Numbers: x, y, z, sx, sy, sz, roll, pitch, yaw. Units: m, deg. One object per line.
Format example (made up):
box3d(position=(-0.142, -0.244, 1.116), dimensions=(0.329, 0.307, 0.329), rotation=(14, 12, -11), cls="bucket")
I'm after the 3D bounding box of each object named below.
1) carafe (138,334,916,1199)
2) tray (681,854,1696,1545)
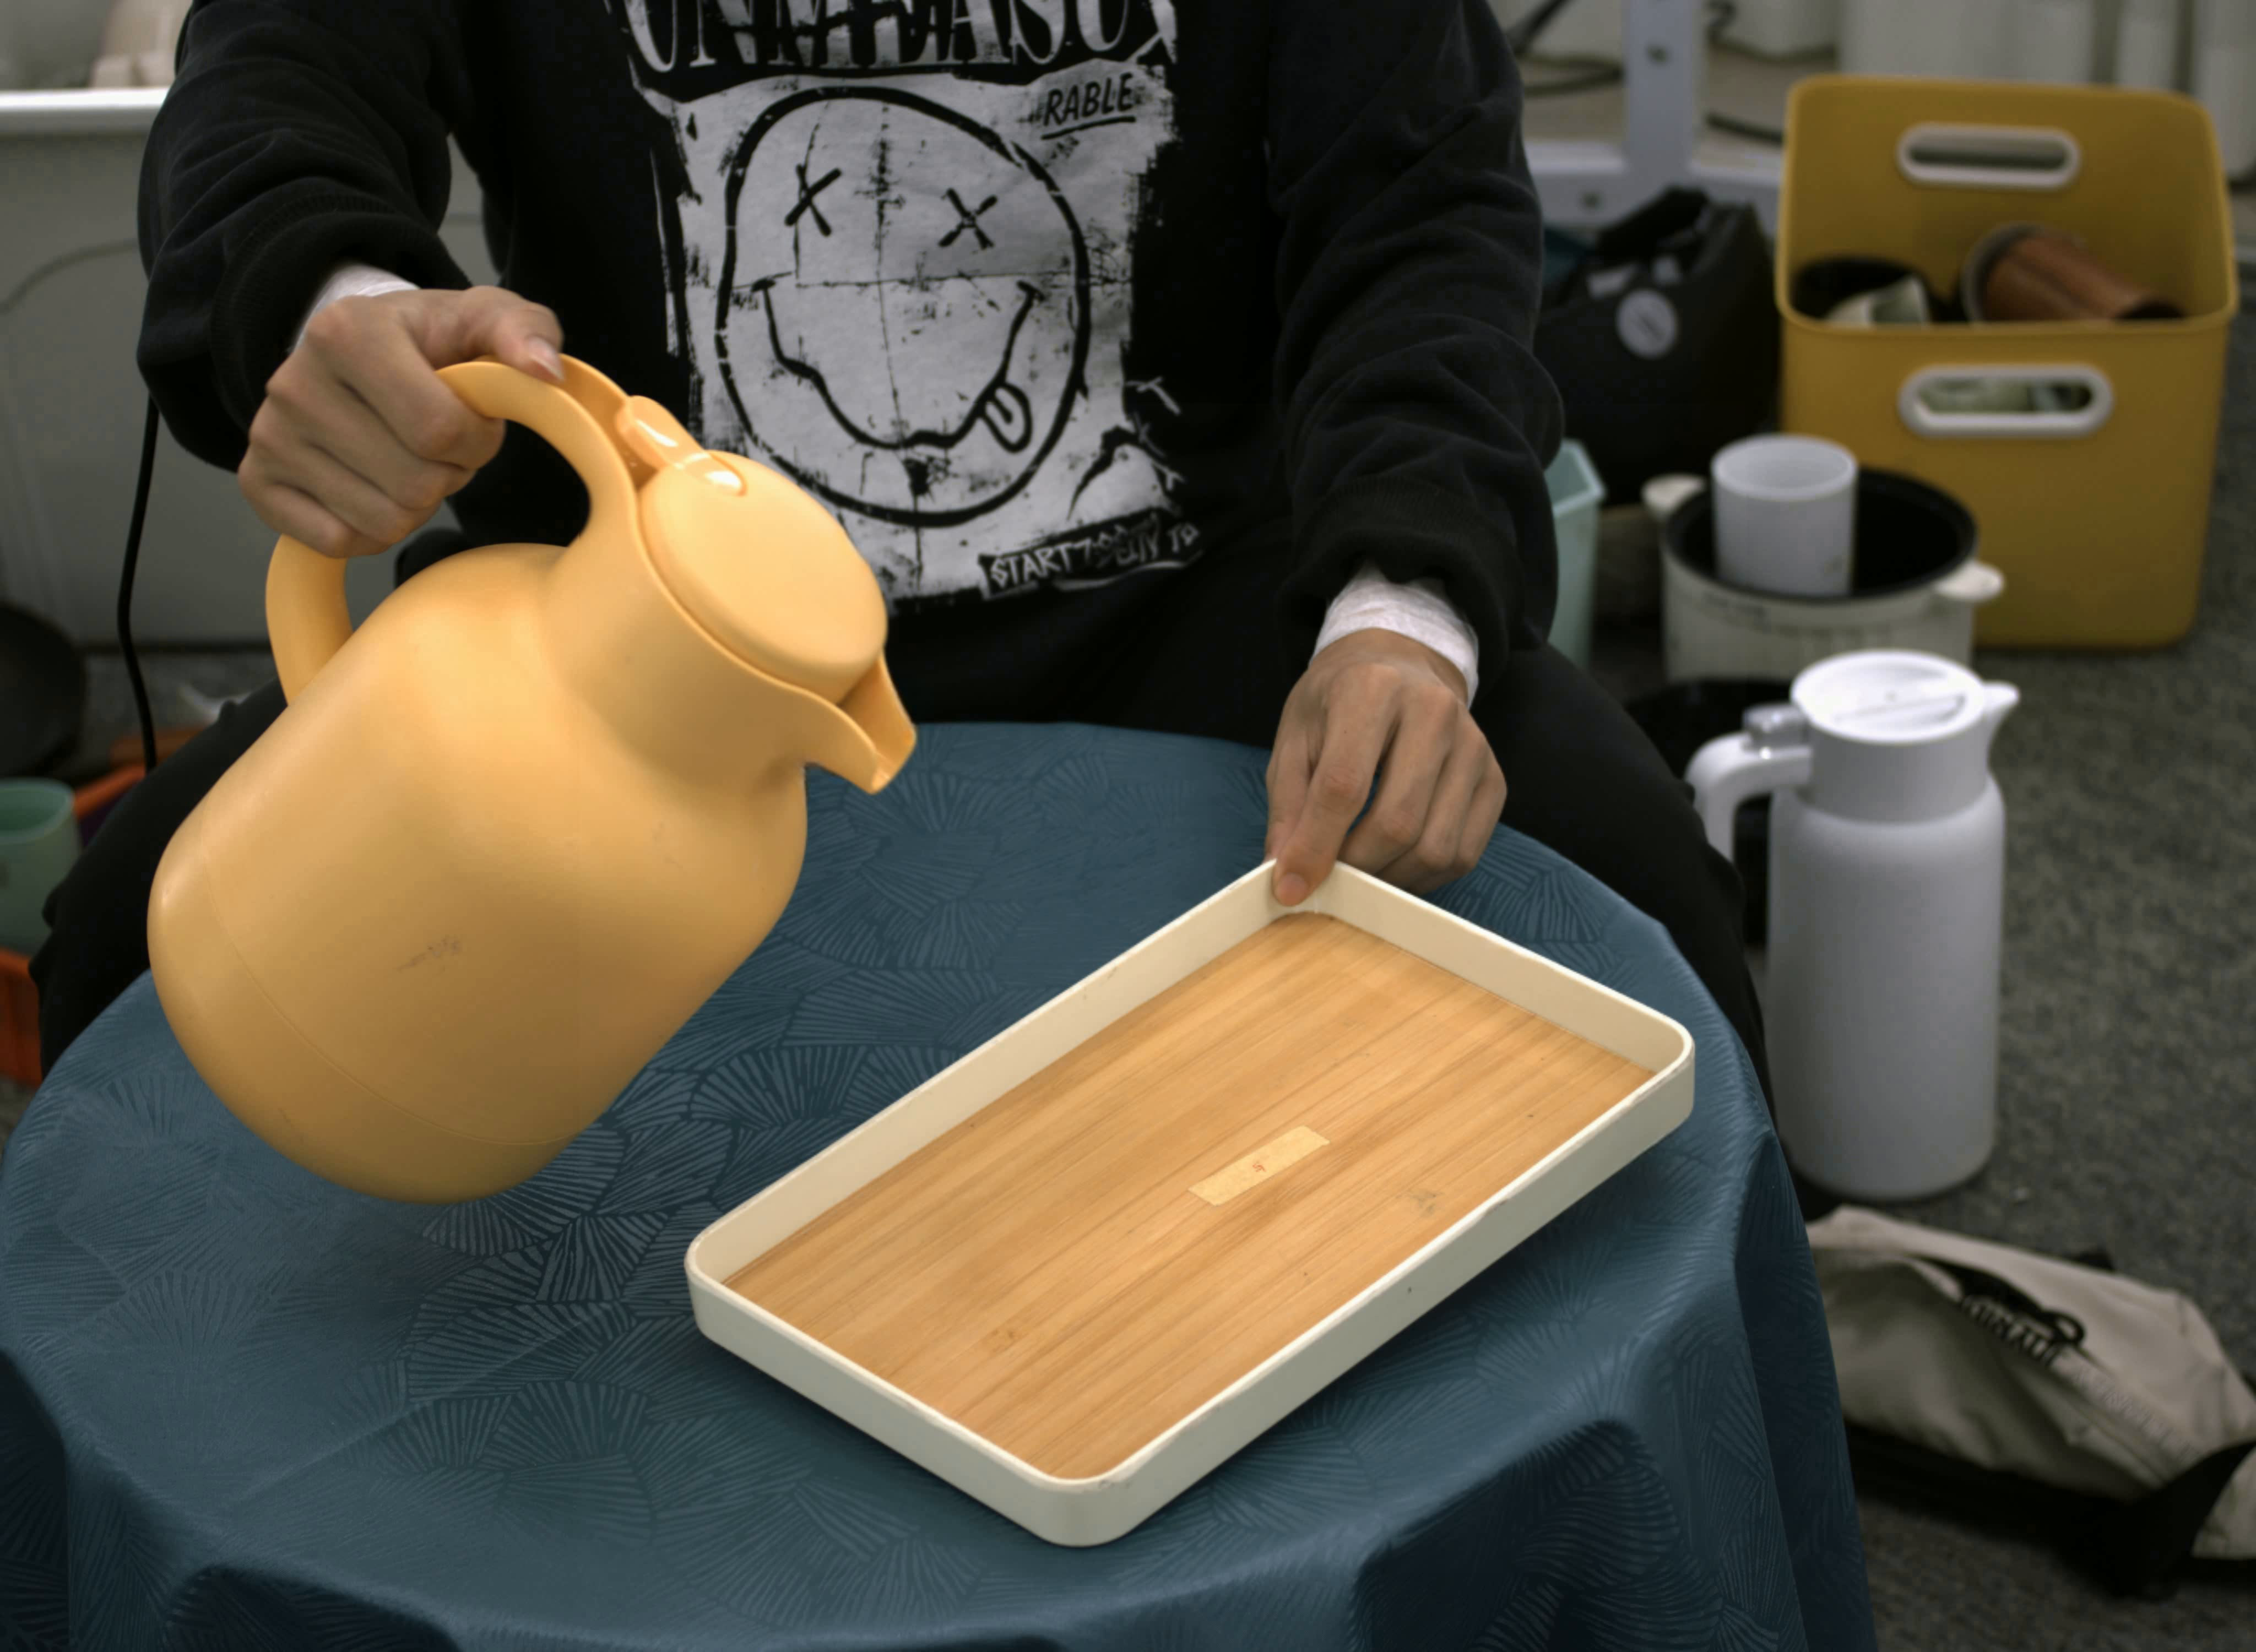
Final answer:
box3d(position=(-0.196, -0.025, 1.775), dimensions=(0.203, 0.257, 0.165), rotation=(51, 26, 9), cls="carafe")
box3d(position=(0.022, 0.113, 1.809), dimensions=(0.191, 0.027, 0.304), rotation=(25, 43, 37), cls="tray")
